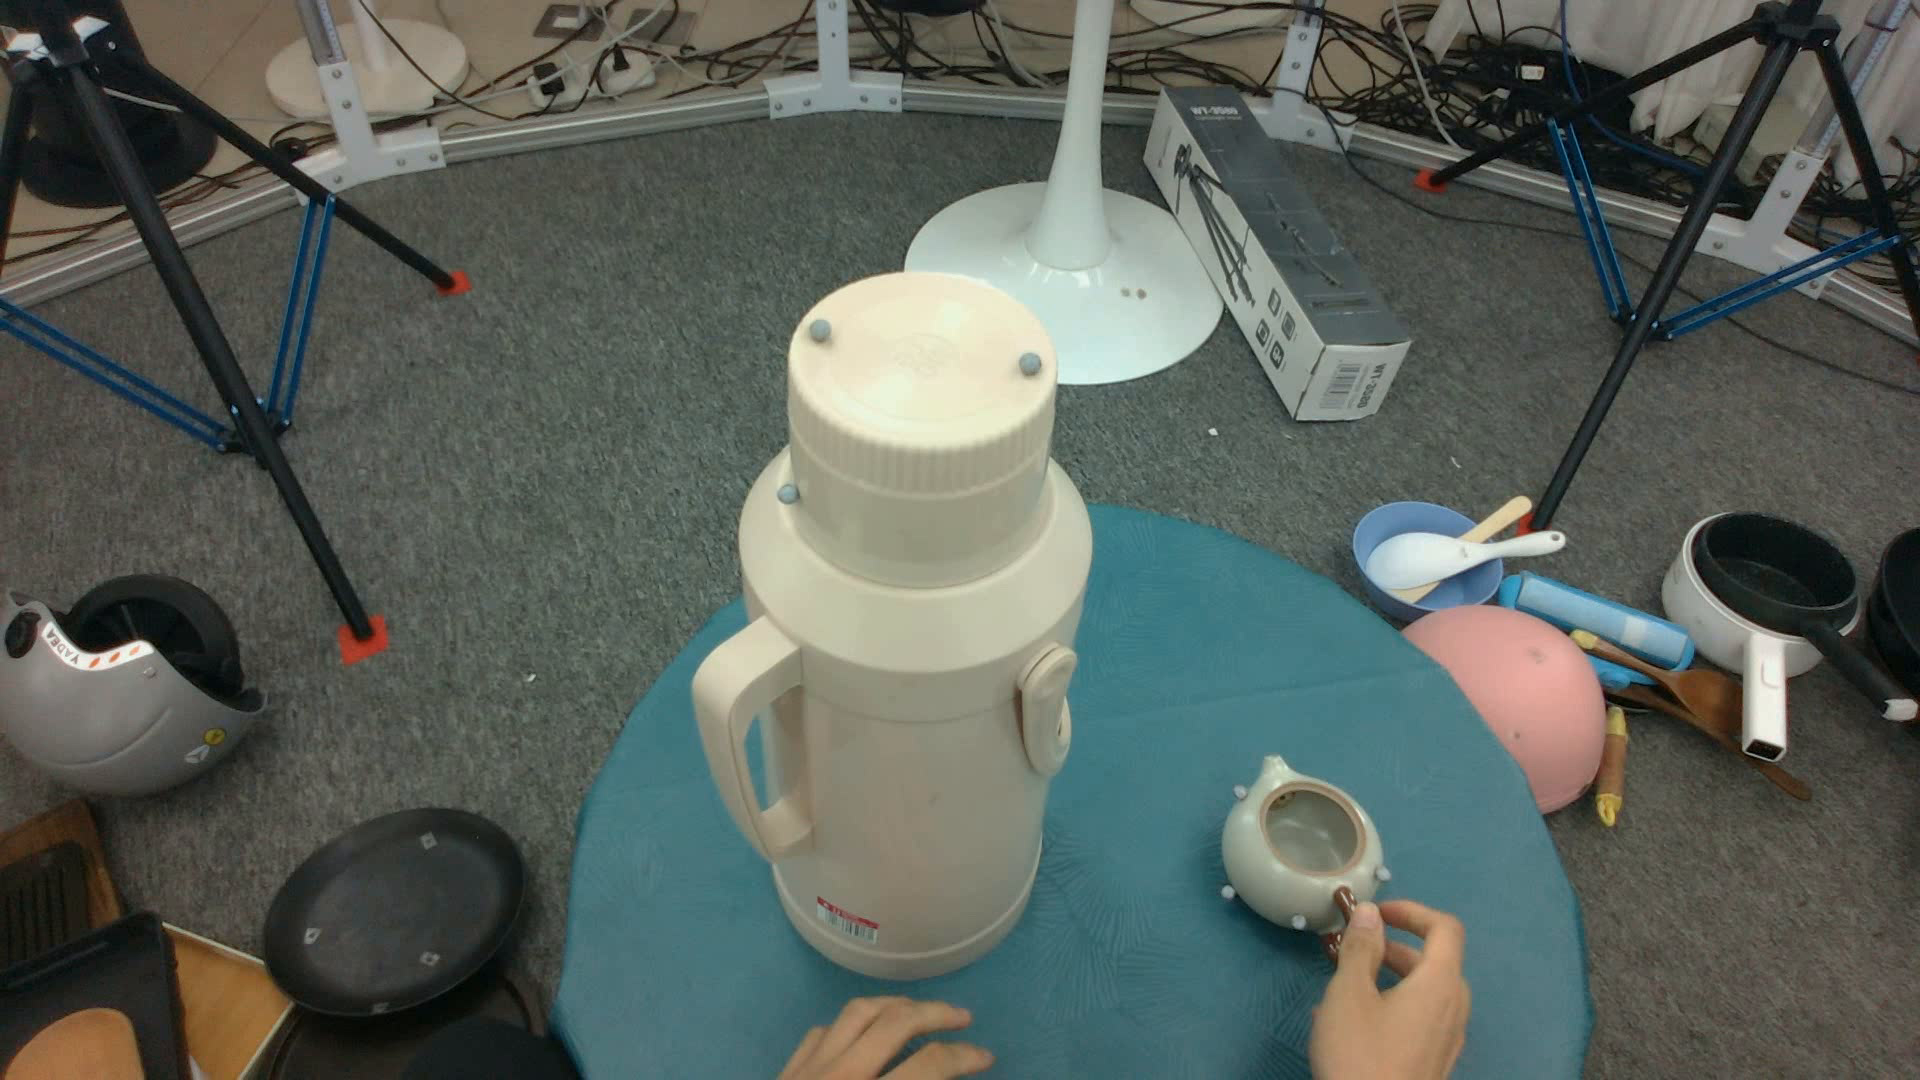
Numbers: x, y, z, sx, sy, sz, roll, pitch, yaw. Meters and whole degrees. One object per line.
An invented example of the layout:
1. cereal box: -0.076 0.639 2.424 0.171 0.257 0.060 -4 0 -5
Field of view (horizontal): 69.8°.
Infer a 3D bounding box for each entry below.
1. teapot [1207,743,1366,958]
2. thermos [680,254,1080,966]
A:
1. teapot: 0.195 0.183 0.805 0.092 0.059 0.128 -10 49 -17
2. thermos: -0.042 0.059 0.672 0.175 0.404 0.208 39 56 24
